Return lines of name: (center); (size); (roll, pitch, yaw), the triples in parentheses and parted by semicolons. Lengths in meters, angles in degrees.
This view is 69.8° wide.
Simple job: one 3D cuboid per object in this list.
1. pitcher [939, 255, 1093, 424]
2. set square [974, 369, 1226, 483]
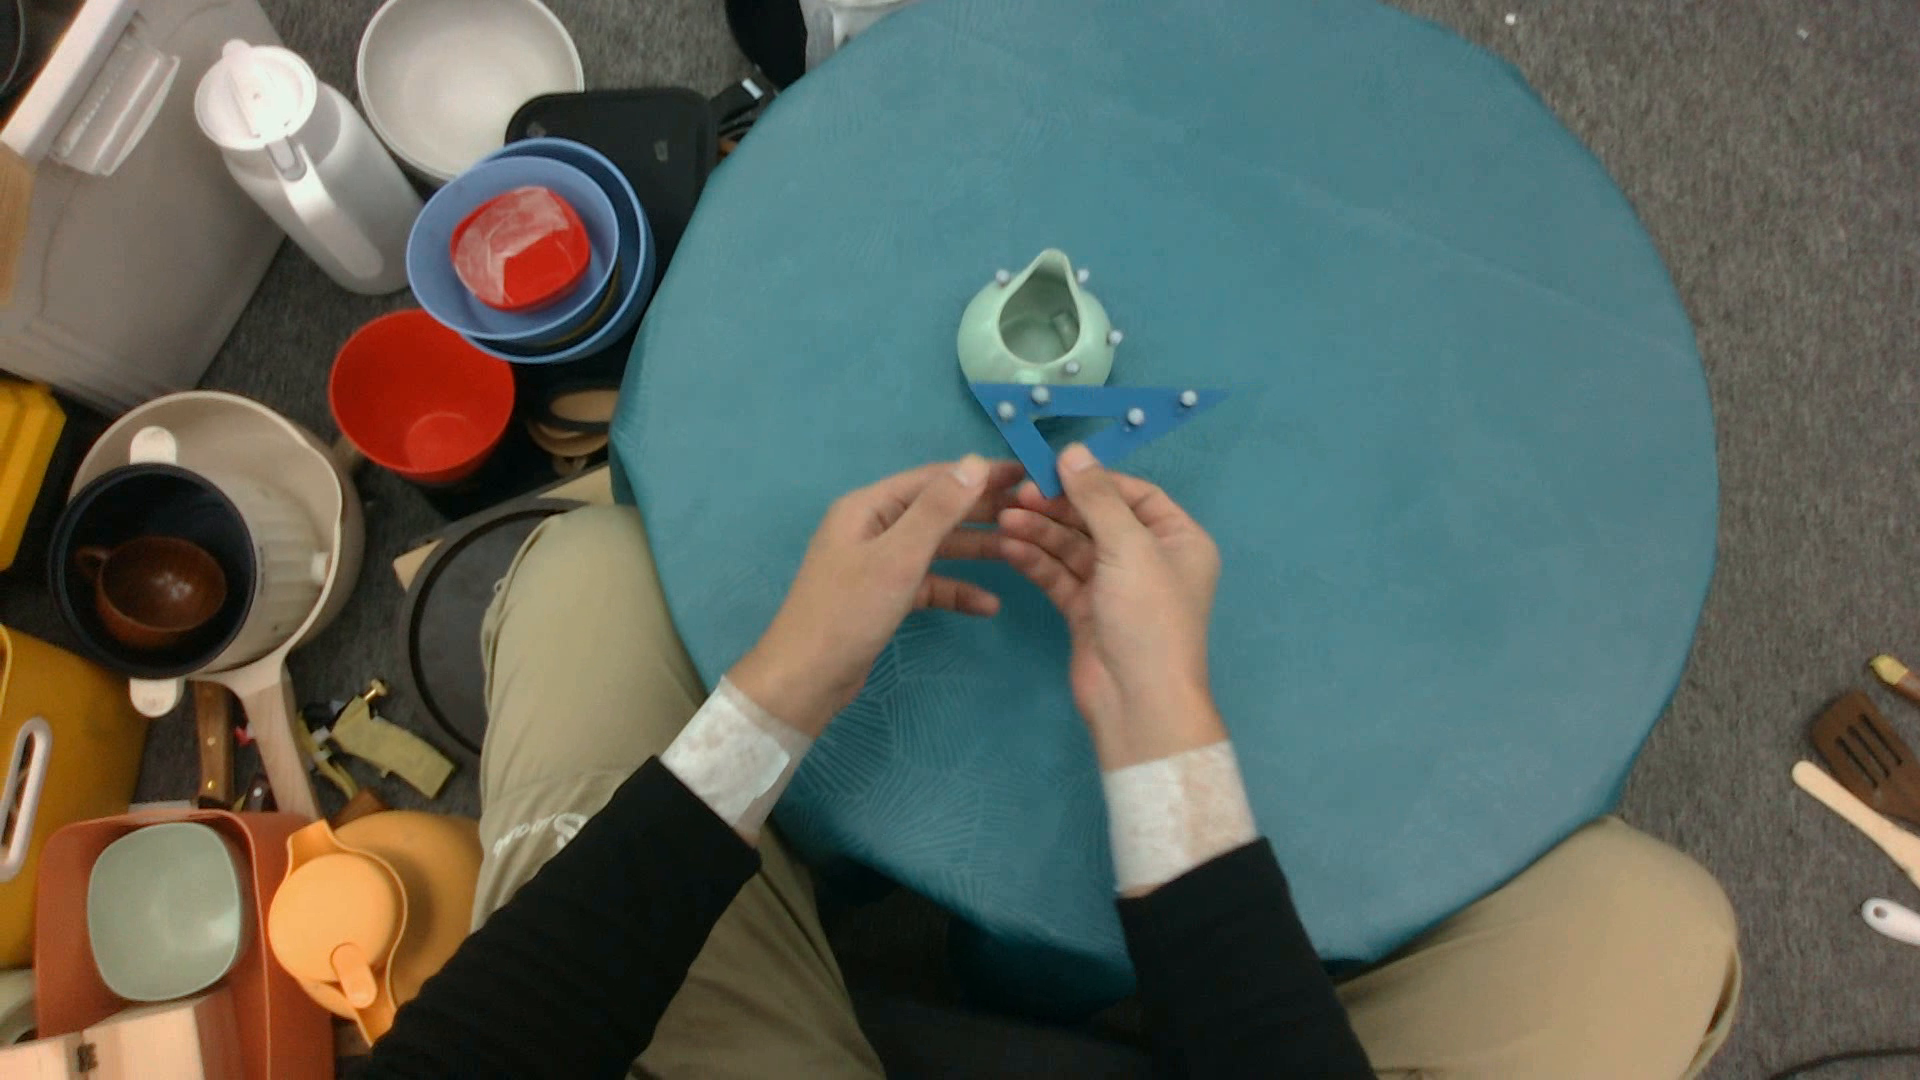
pitcher: (0.028, -0.100, 0.728); (0.086, 0.060, 0.108); (29, 59, -5)
set square: (0.071, -0.051, 0.668); (0.132, 0.006, 0.061); (6, 65, -15)
